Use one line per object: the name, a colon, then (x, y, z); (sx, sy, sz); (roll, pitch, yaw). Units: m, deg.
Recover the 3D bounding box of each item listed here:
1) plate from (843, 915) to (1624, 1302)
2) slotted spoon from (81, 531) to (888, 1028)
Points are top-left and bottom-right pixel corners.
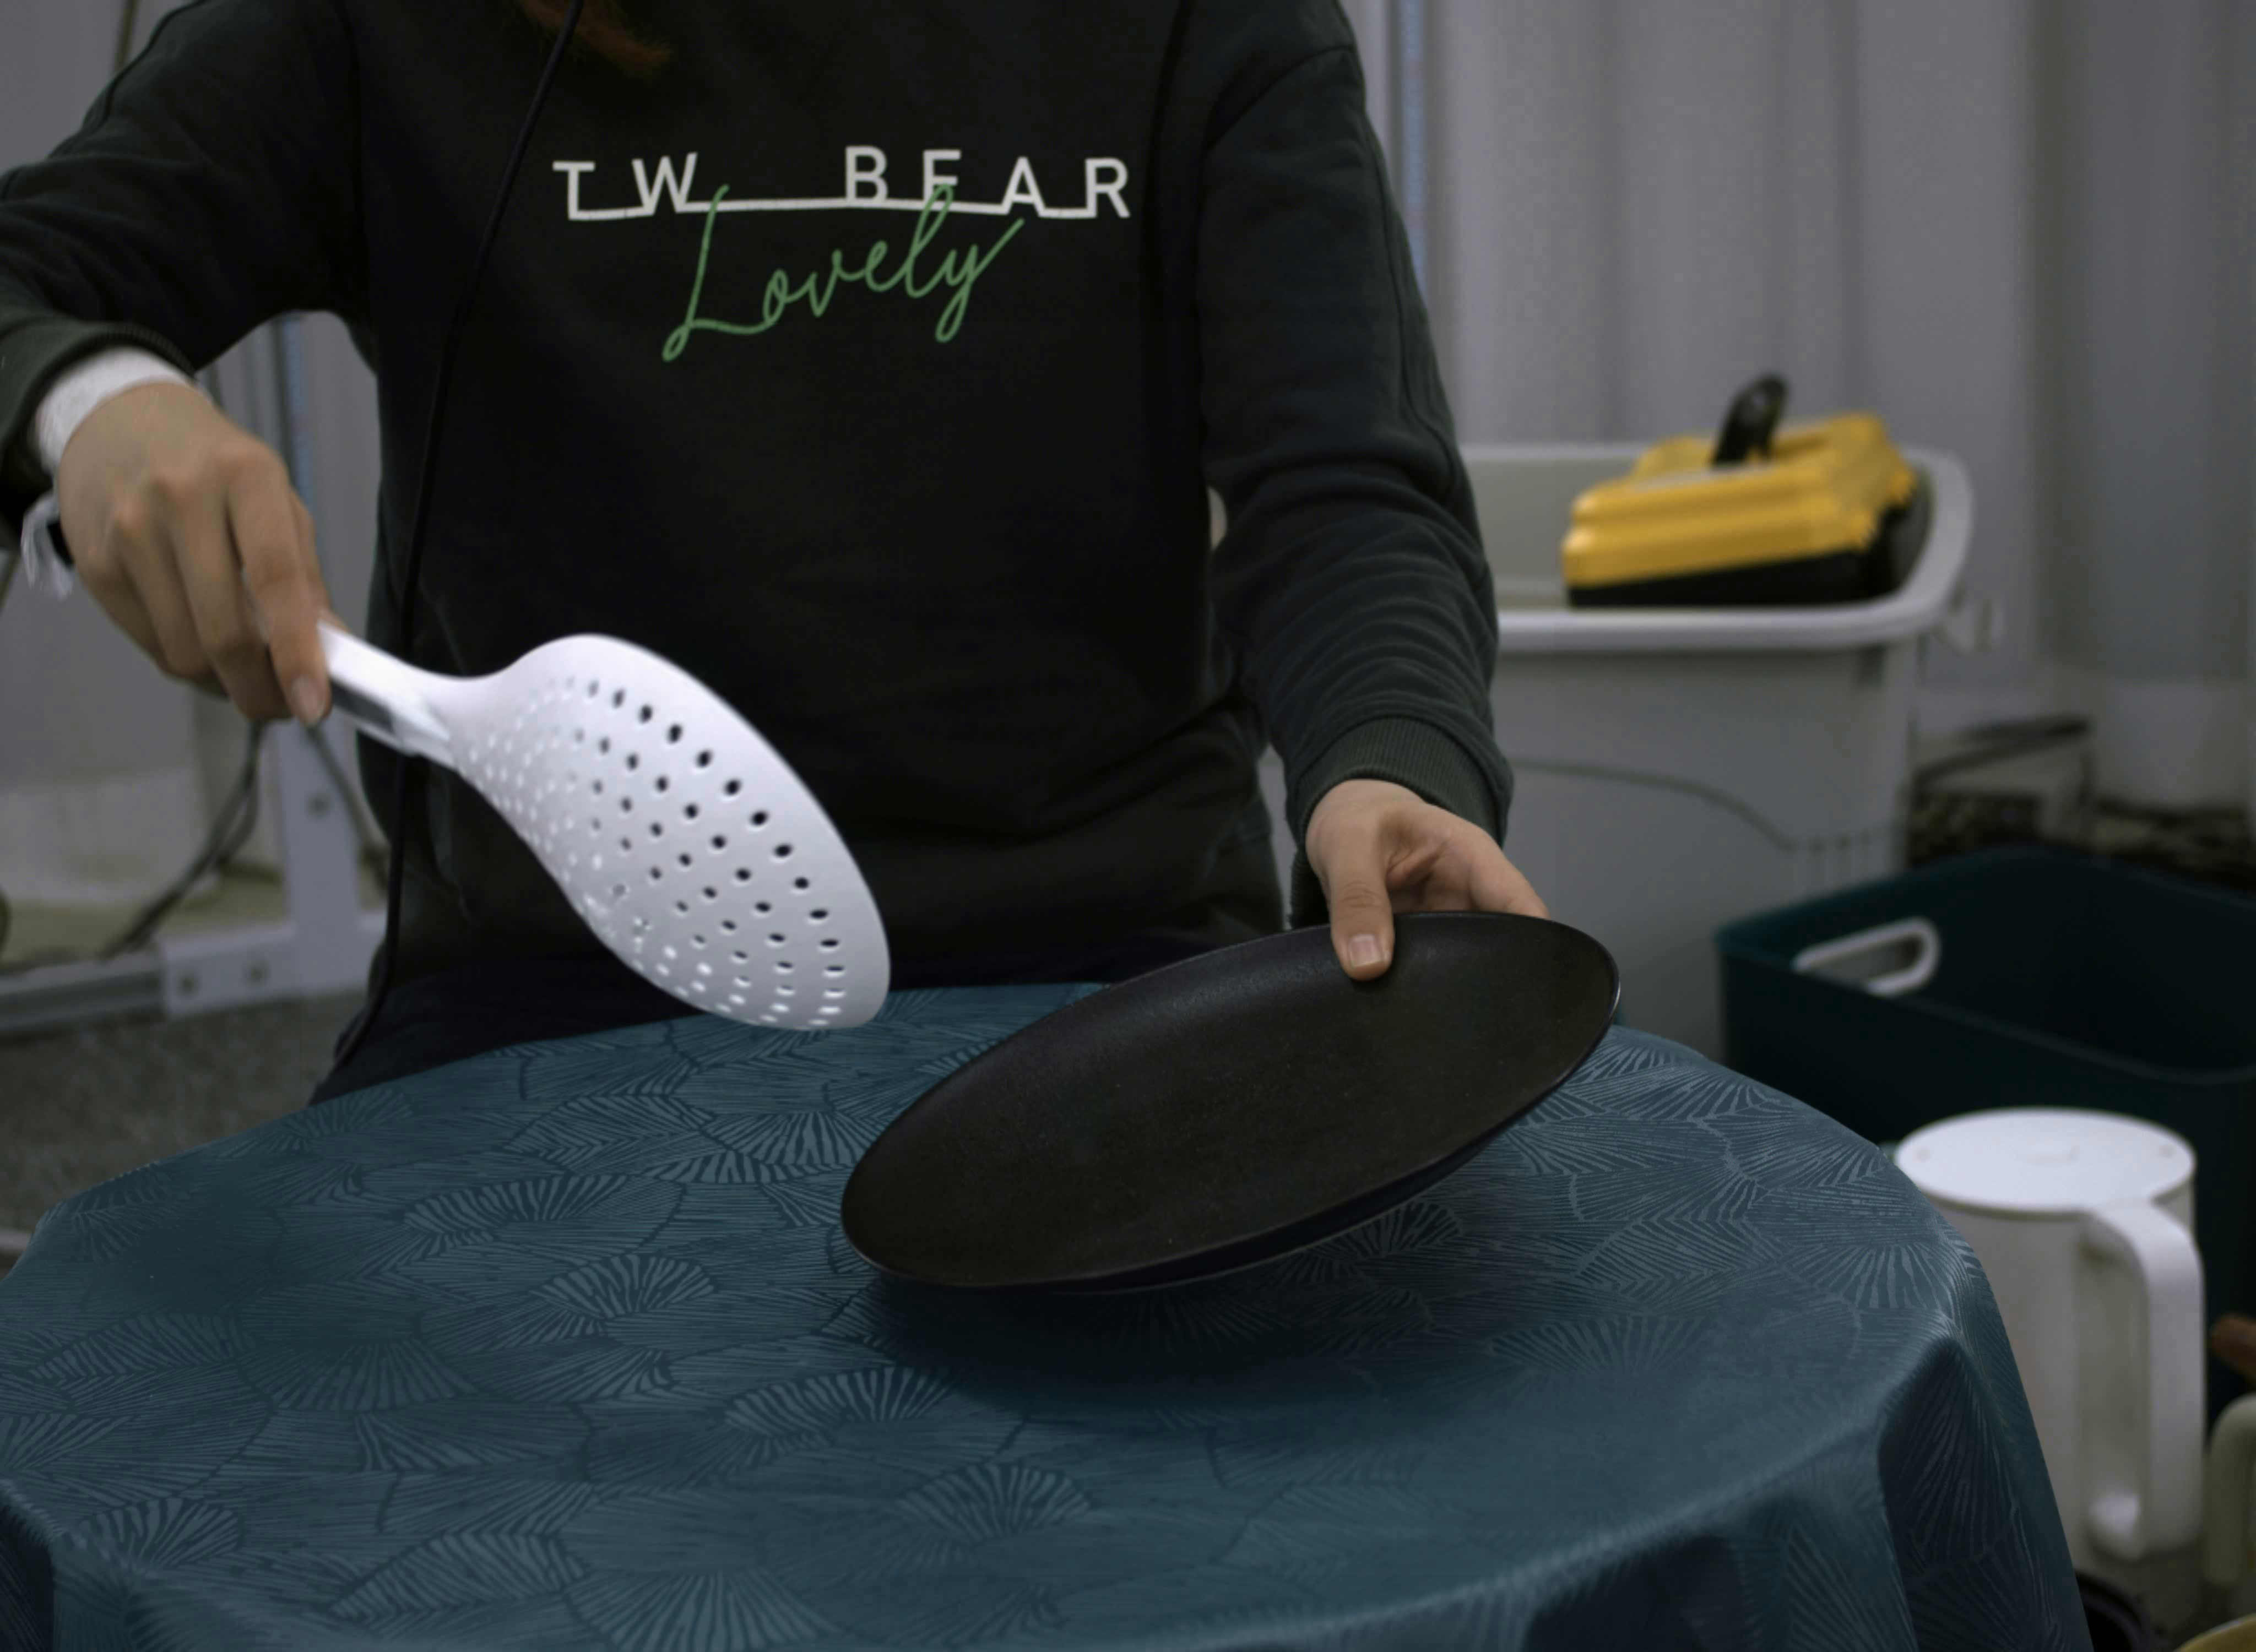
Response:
plate: (0.033, 0.088, 1.626); (0.244, 0.023, 0.246); (-17, 17, 5)
slotted spoon: (-0.196, -0.028, 1.587); (0.046, 0.134, 0.353); (-38, 42, -23)
